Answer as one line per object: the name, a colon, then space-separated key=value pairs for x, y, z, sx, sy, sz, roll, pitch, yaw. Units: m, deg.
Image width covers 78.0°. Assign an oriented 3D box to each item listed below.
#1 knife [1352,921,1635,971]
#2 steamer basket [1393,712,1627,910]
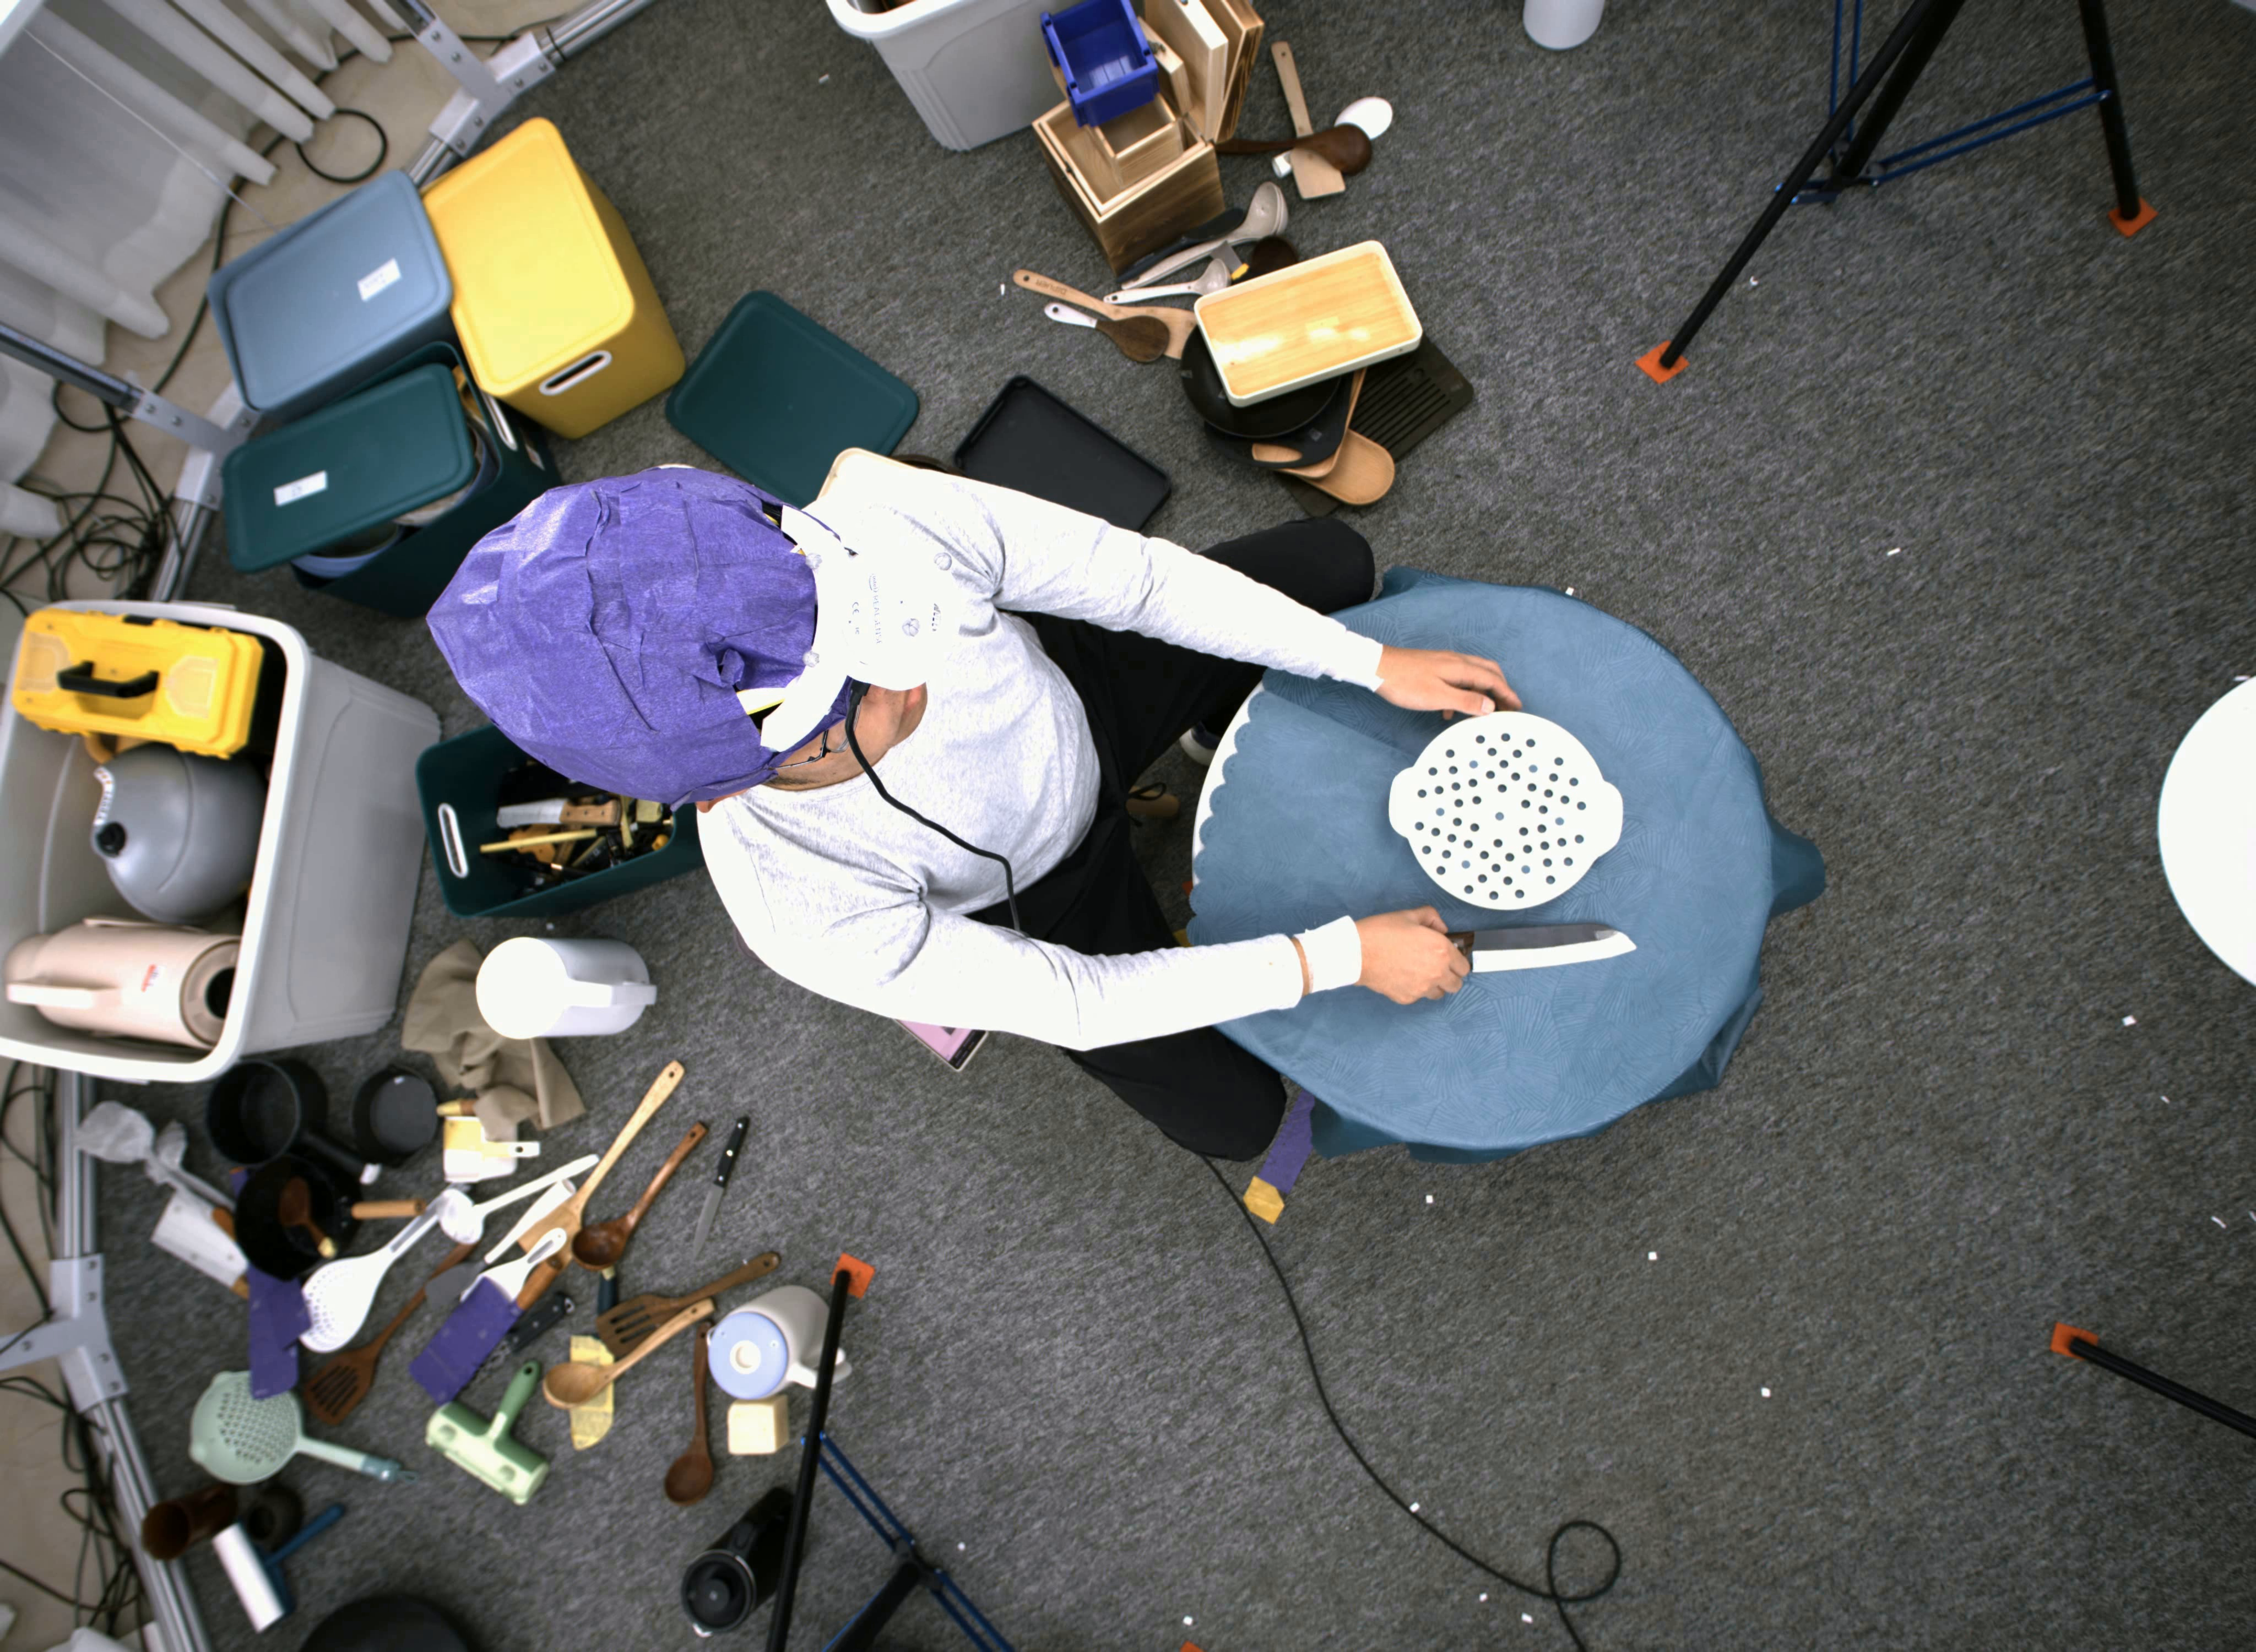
knife: x=0.378 y=0.124 z=1.427 sx=0.290 sy=0.020 sz=0.050 roll=-3 pitch=101 yaw=8
steamer basket: x=0.389 y=-0.015 z=1.409 sx=0.231 sy=0.069 sz=0.201 roll=5 pitch=87 yaw=12
